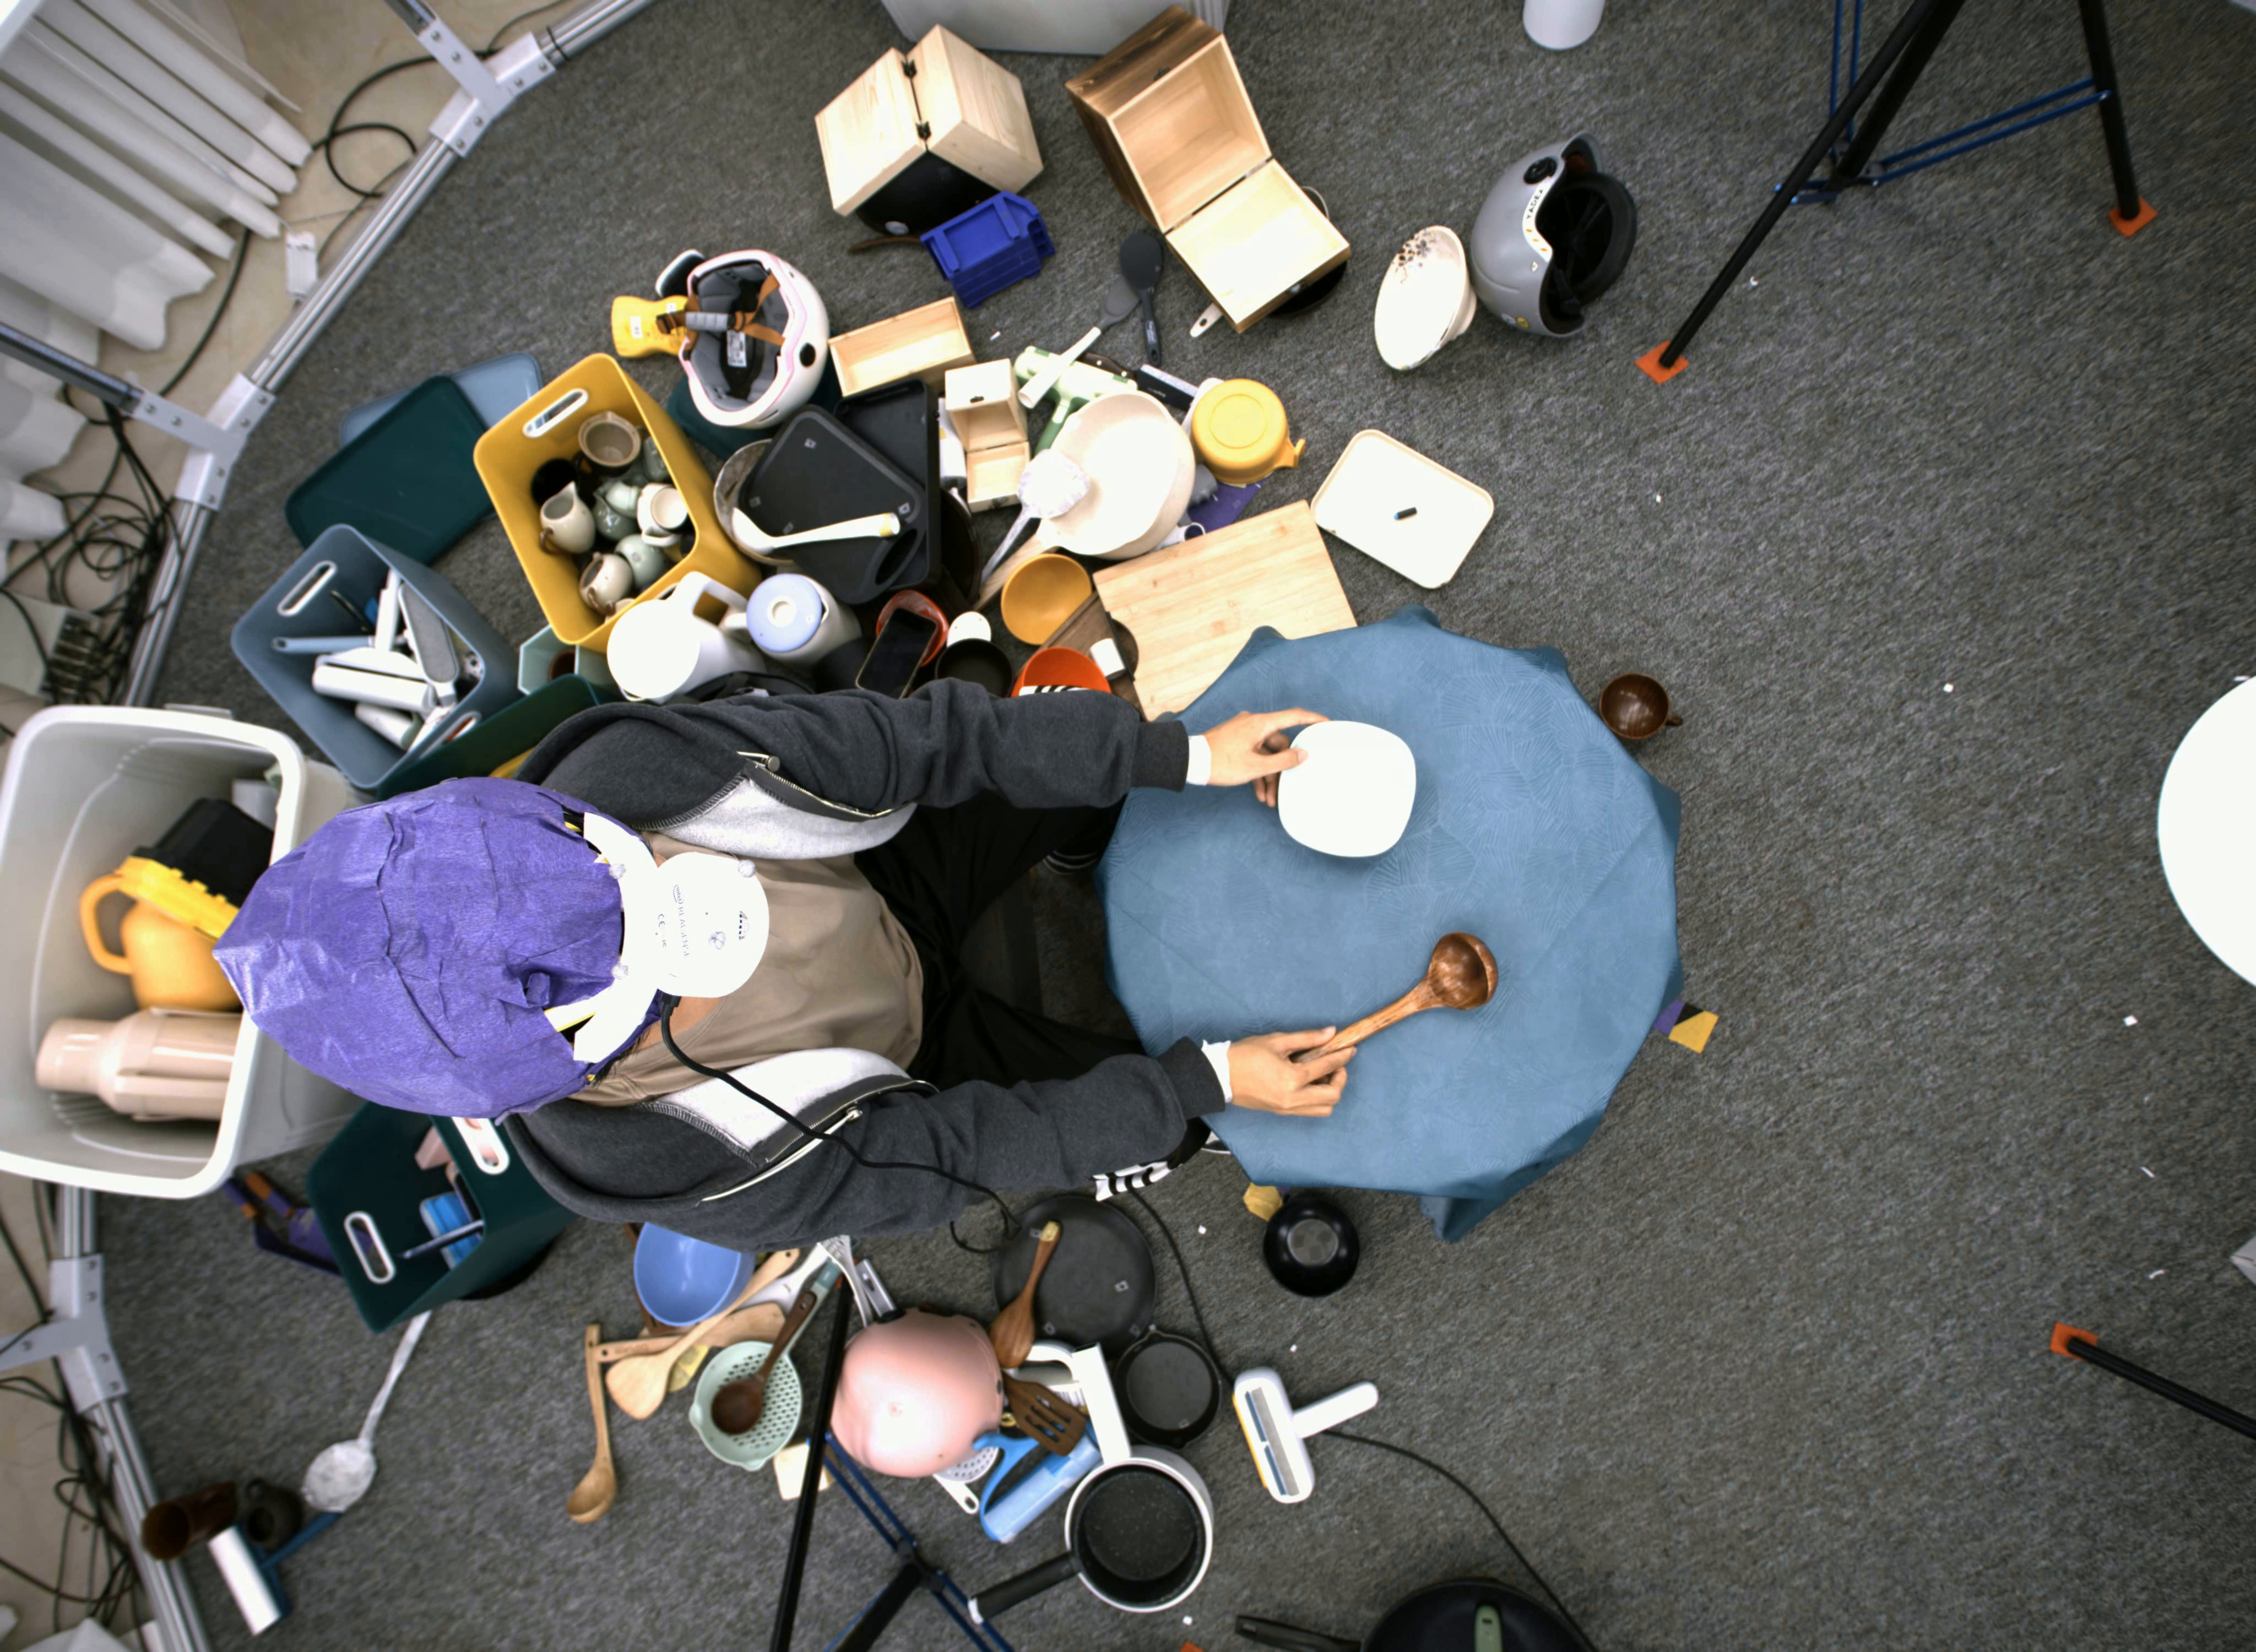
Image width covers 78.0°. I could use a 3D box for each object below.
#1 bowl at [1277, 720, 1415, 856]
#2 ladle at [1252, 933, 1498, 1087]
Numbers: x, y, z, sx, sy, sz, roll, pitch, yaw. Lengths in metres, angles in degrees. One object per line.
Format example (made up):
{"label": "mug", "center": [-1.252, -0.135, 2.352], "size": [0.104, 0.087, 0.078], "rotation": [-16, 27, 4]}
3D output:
{"label": "bowl", "center": [0.227, -0.038, 1.442], "size": [0.152, 0.058, 0.151], "rotation": [-1, 87, 9]}
{"label": "ladle", "center": [0.249, 0.196, 1.414], "size": [0.275, 0.077, 0.080], "rotation": [-27, 67, 6]}
